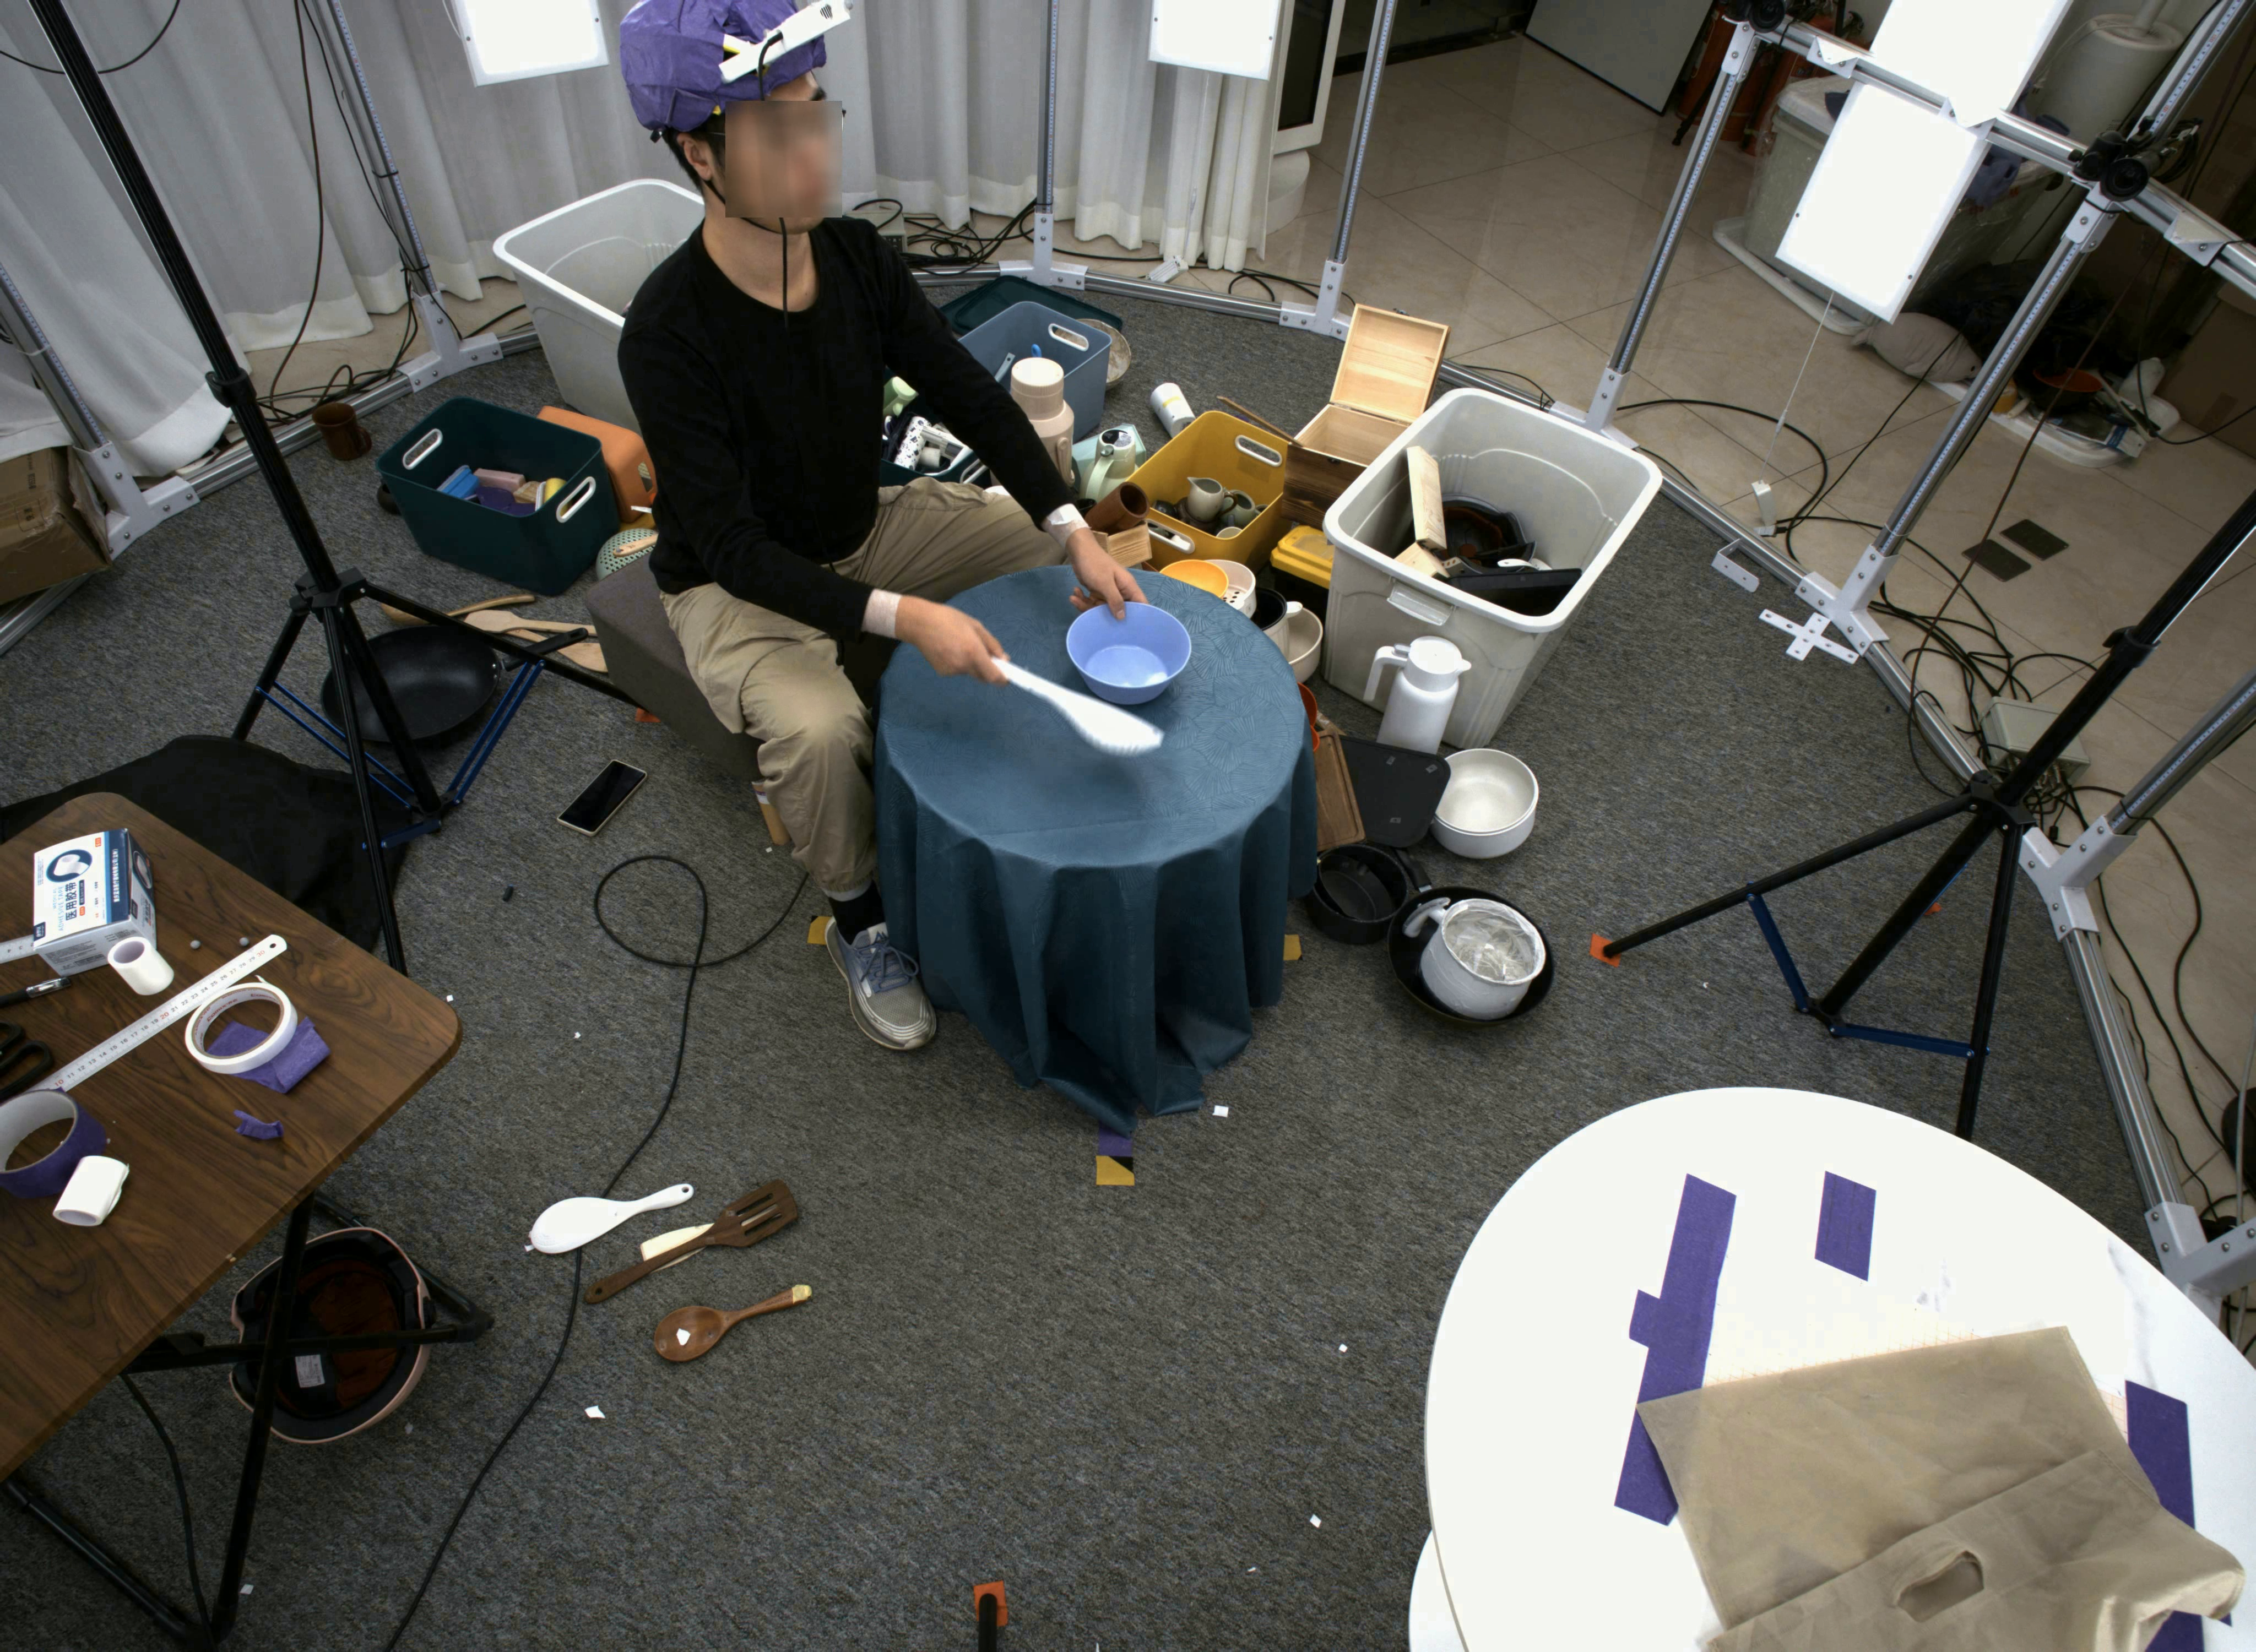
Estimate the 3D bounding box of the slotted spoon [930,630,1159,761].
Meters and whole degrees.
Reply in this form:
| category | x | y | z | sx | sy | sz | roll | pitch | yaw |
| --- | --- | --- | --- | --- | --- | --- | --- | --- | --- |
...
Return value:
| category | x | y | z | sx | sy | sz | roll | pitch | yaw |
| --- | --- | --- | --- | --- | --- | --- | --- | --- | --- |
| slotted spoon | -0.115 | -0.174 | 1.690 | 0.352 | 0.045 | 0.136 | 34 | 15 | 14 |

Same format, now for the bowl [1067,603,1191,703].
| category | x | y | z | sx | sy | sz | roll | pitch | yaw |
| --- | --- | --- | --- | --- | --- | --- | --- | --- | --- |
| bowl | 0.000 | -0.238 | 1.831 | 0.176 | 0.068 | 0.180 | 2 | 48 | -2 |
